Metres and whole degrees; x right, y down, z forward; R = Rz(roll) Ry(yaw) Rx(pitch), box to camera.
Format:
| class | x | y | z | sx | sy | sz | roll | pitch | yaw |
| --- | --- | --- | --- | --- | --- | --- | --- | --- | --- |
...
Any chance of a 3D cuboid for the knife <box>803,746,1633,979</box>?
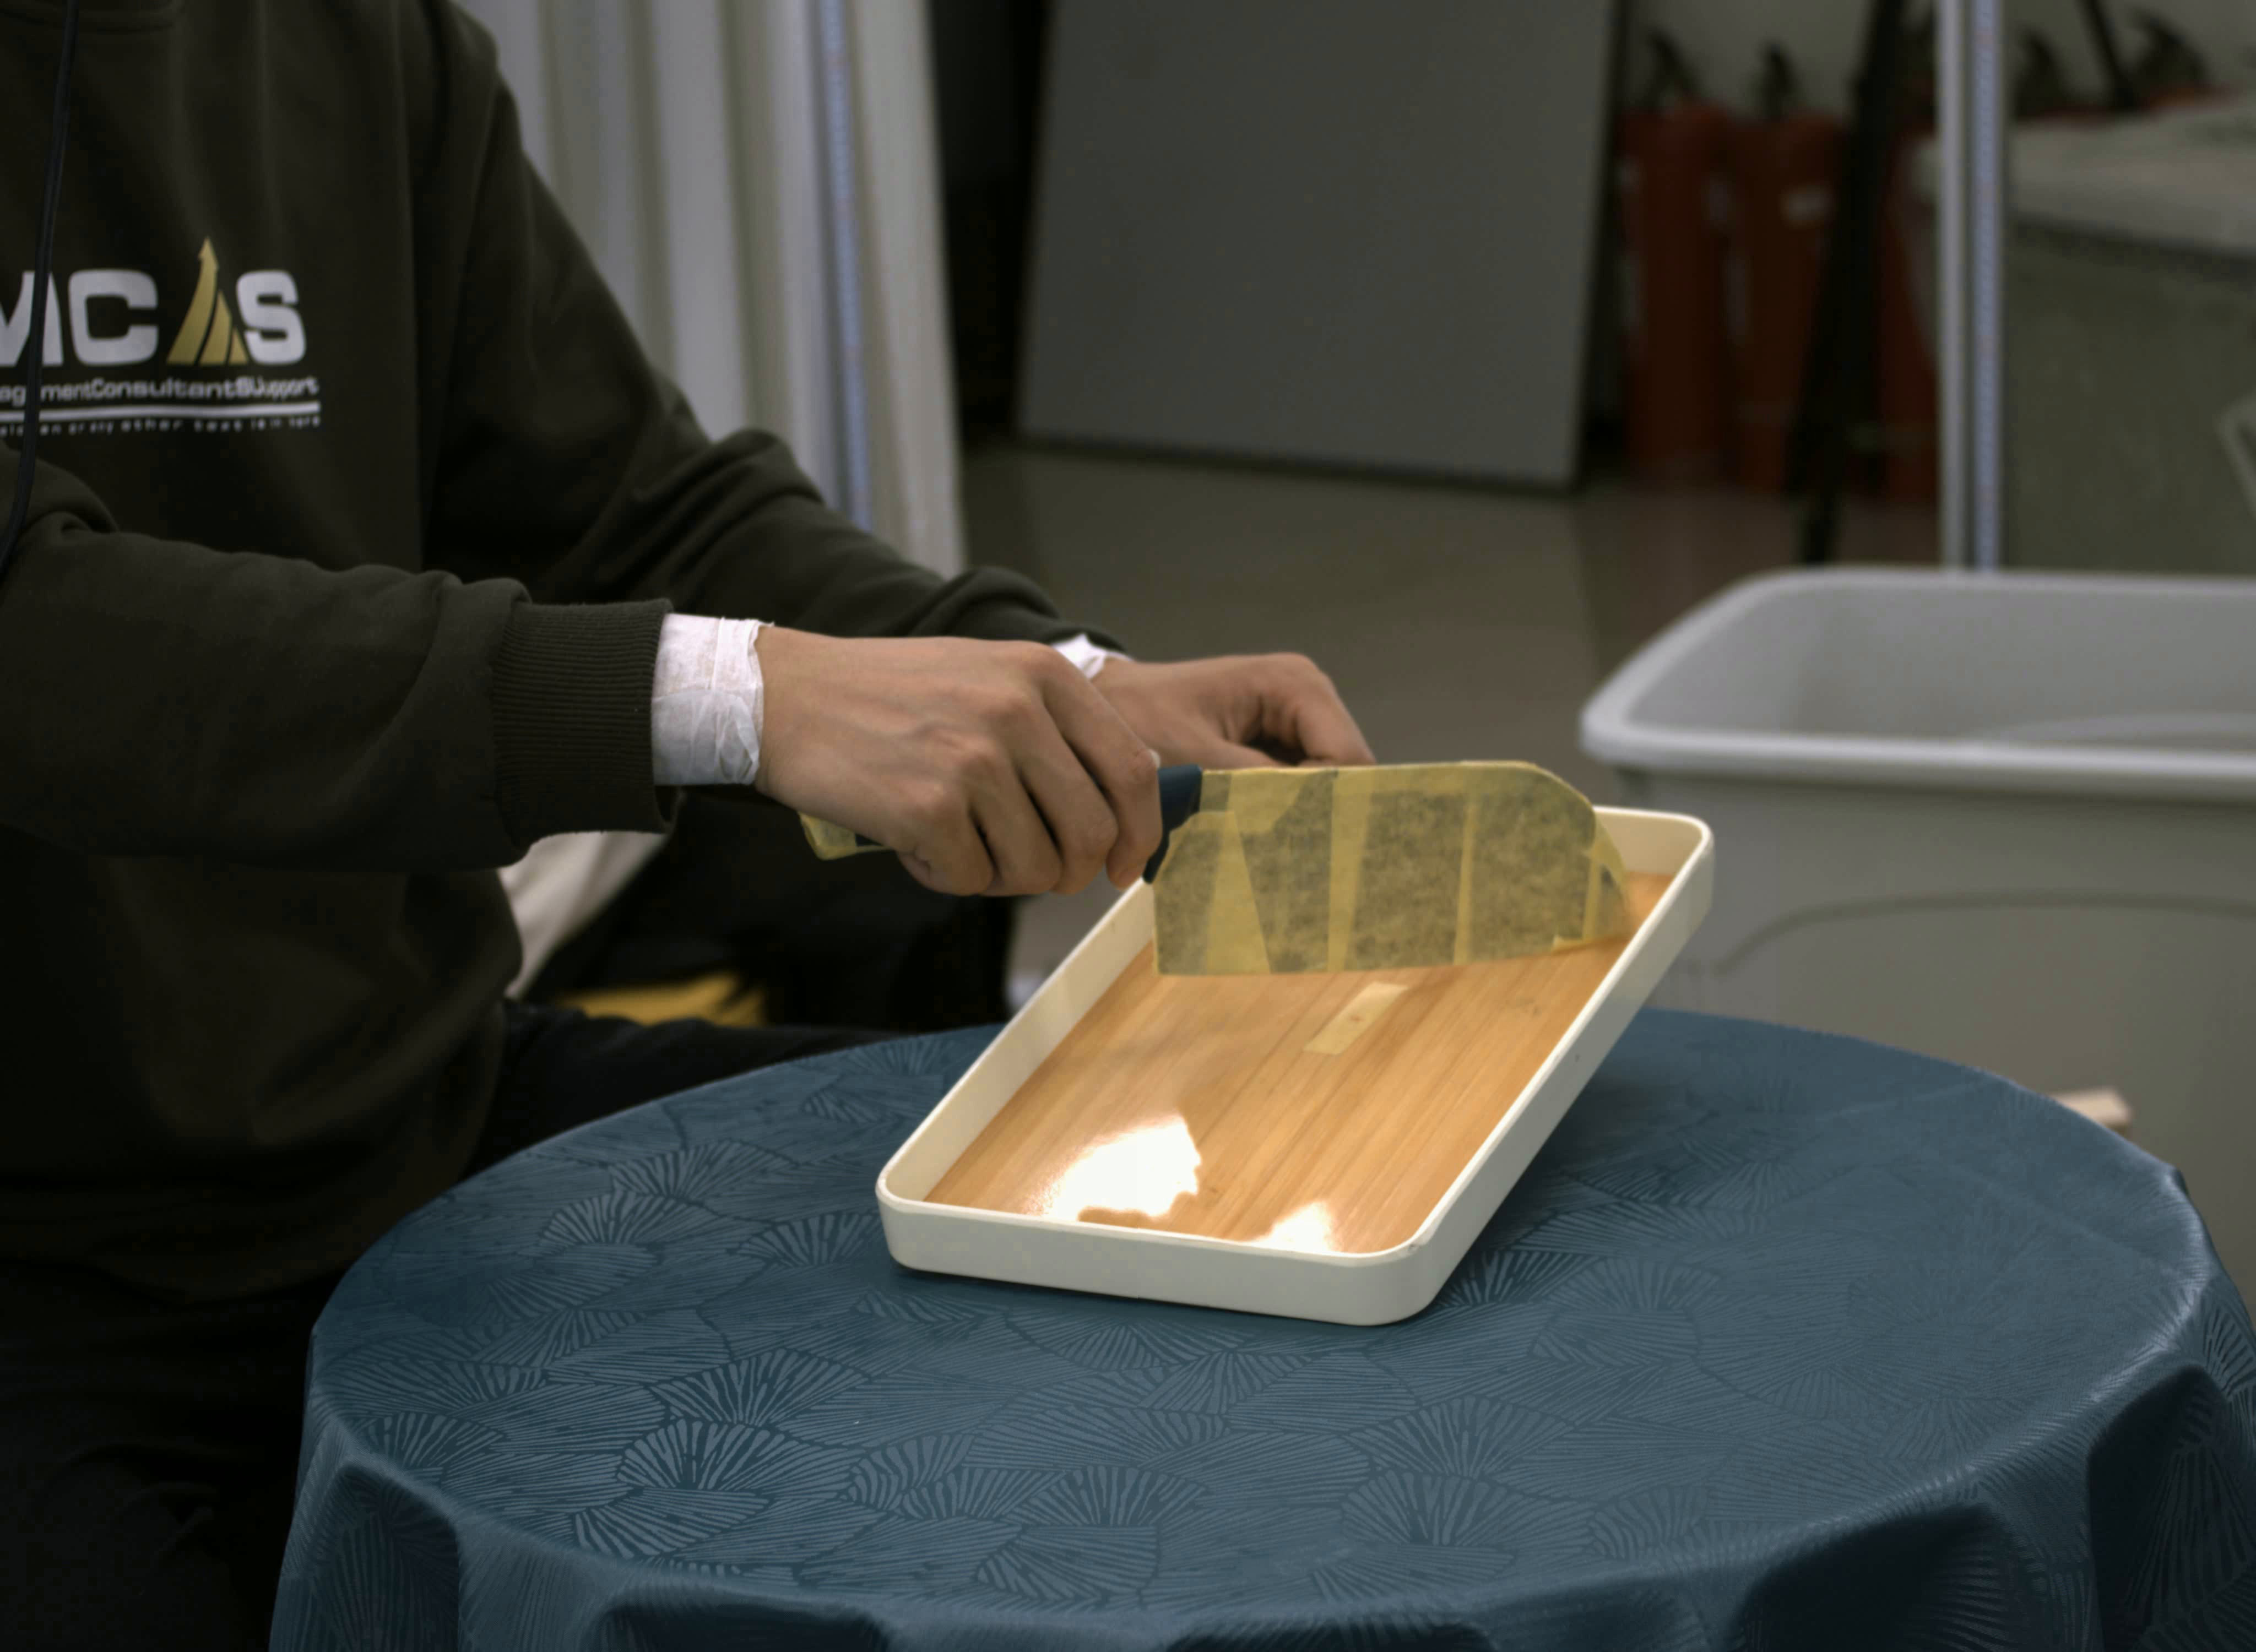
| class | x | y | z | sx | sy | sz | roll | pitch | yaw |
| --- | --- | --- | --- | --- | --- | --- | --- | --- | --- |
| knife | 0.032 | 0.011 | 1.787 | 0.284 | 0.082 | 0.027 | 1 | 14 | -11 |

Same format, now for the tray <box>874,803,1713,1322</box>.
| class | x | y | z | sx | sy | sz | roll | pitch | yaw |
| --- | --- | --- | --- | --- | --- | --- | --- | --- | --- |
| tray | 0.061 | 0.069 | 1.774 | 0.192 | 0.027 | 0.297 | 3 | 28 | 27 |
